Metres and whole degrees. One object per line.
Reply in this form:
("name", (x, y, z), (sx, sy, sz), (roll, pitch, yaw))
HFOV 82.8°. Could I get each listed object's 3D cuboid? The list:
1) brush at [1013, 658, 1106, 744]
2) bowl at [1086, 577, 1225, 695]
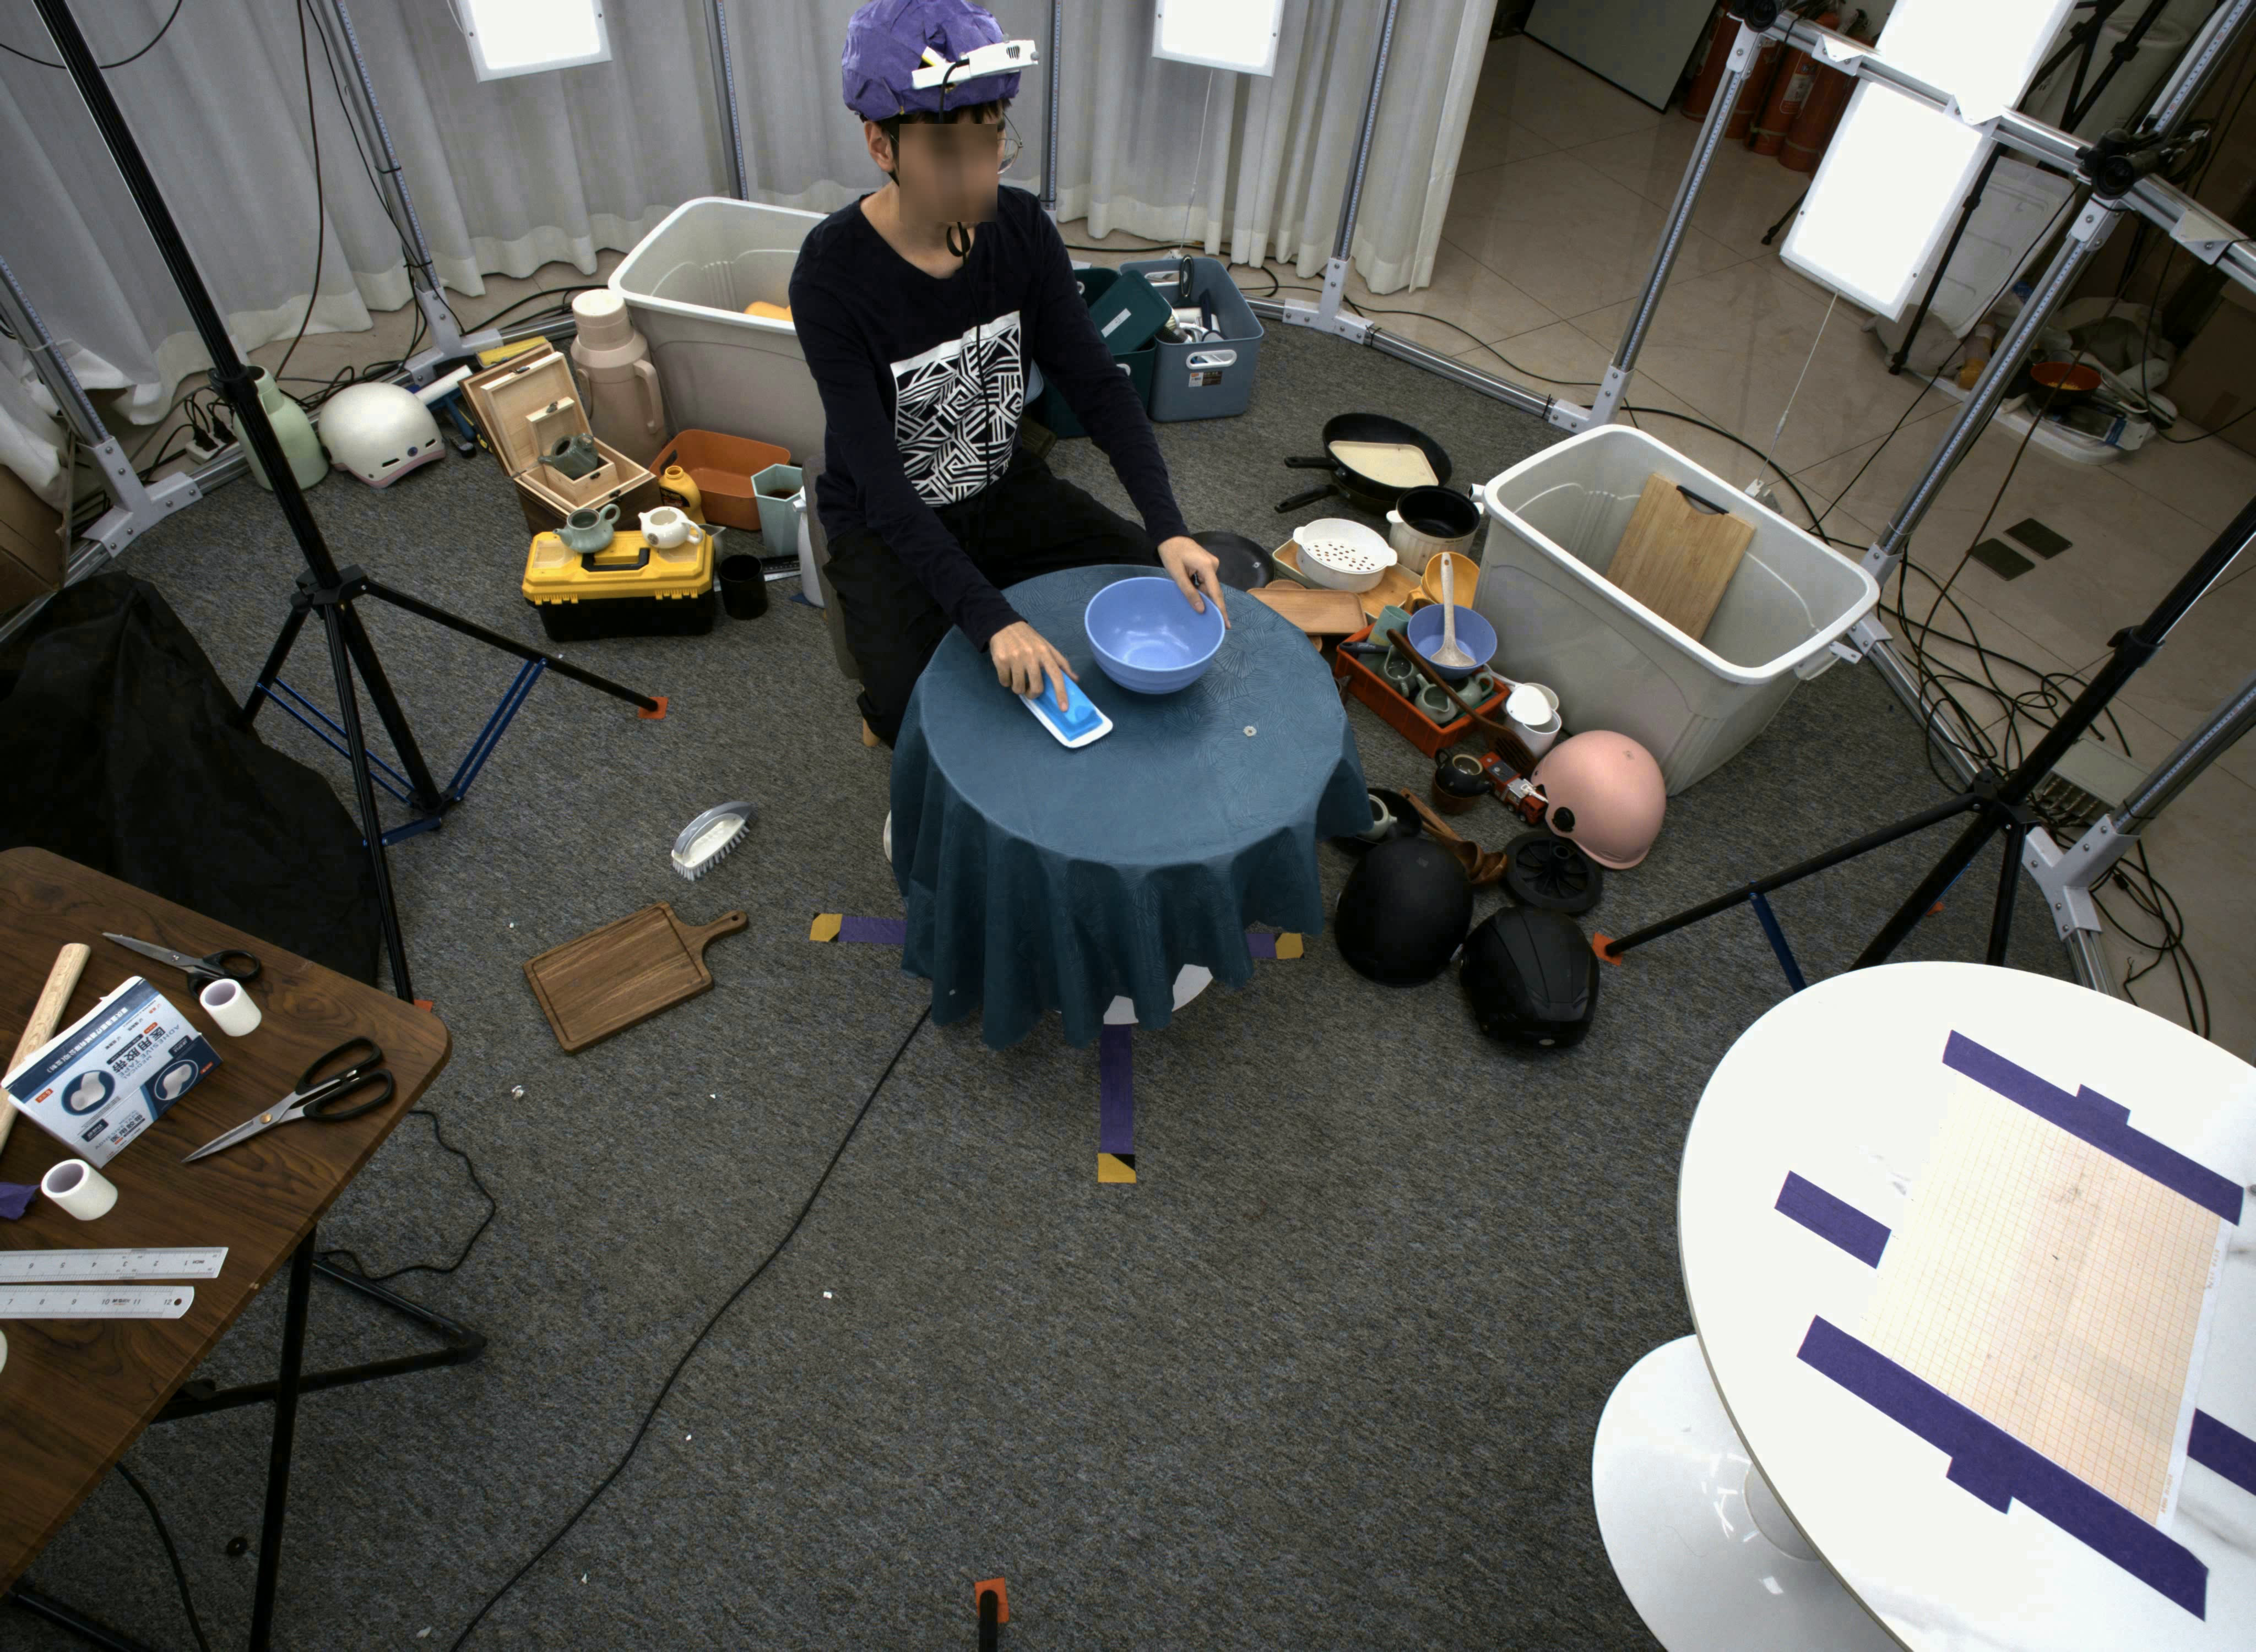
("brush", (-0.094, -0.180, 1.777), (0.084, 0.054, 0.147), (-26, 57, -22))
("bowl", (0.035, -0.256, 1.831), (0.196, 0.093, 0.201), (3, 49, -3))
